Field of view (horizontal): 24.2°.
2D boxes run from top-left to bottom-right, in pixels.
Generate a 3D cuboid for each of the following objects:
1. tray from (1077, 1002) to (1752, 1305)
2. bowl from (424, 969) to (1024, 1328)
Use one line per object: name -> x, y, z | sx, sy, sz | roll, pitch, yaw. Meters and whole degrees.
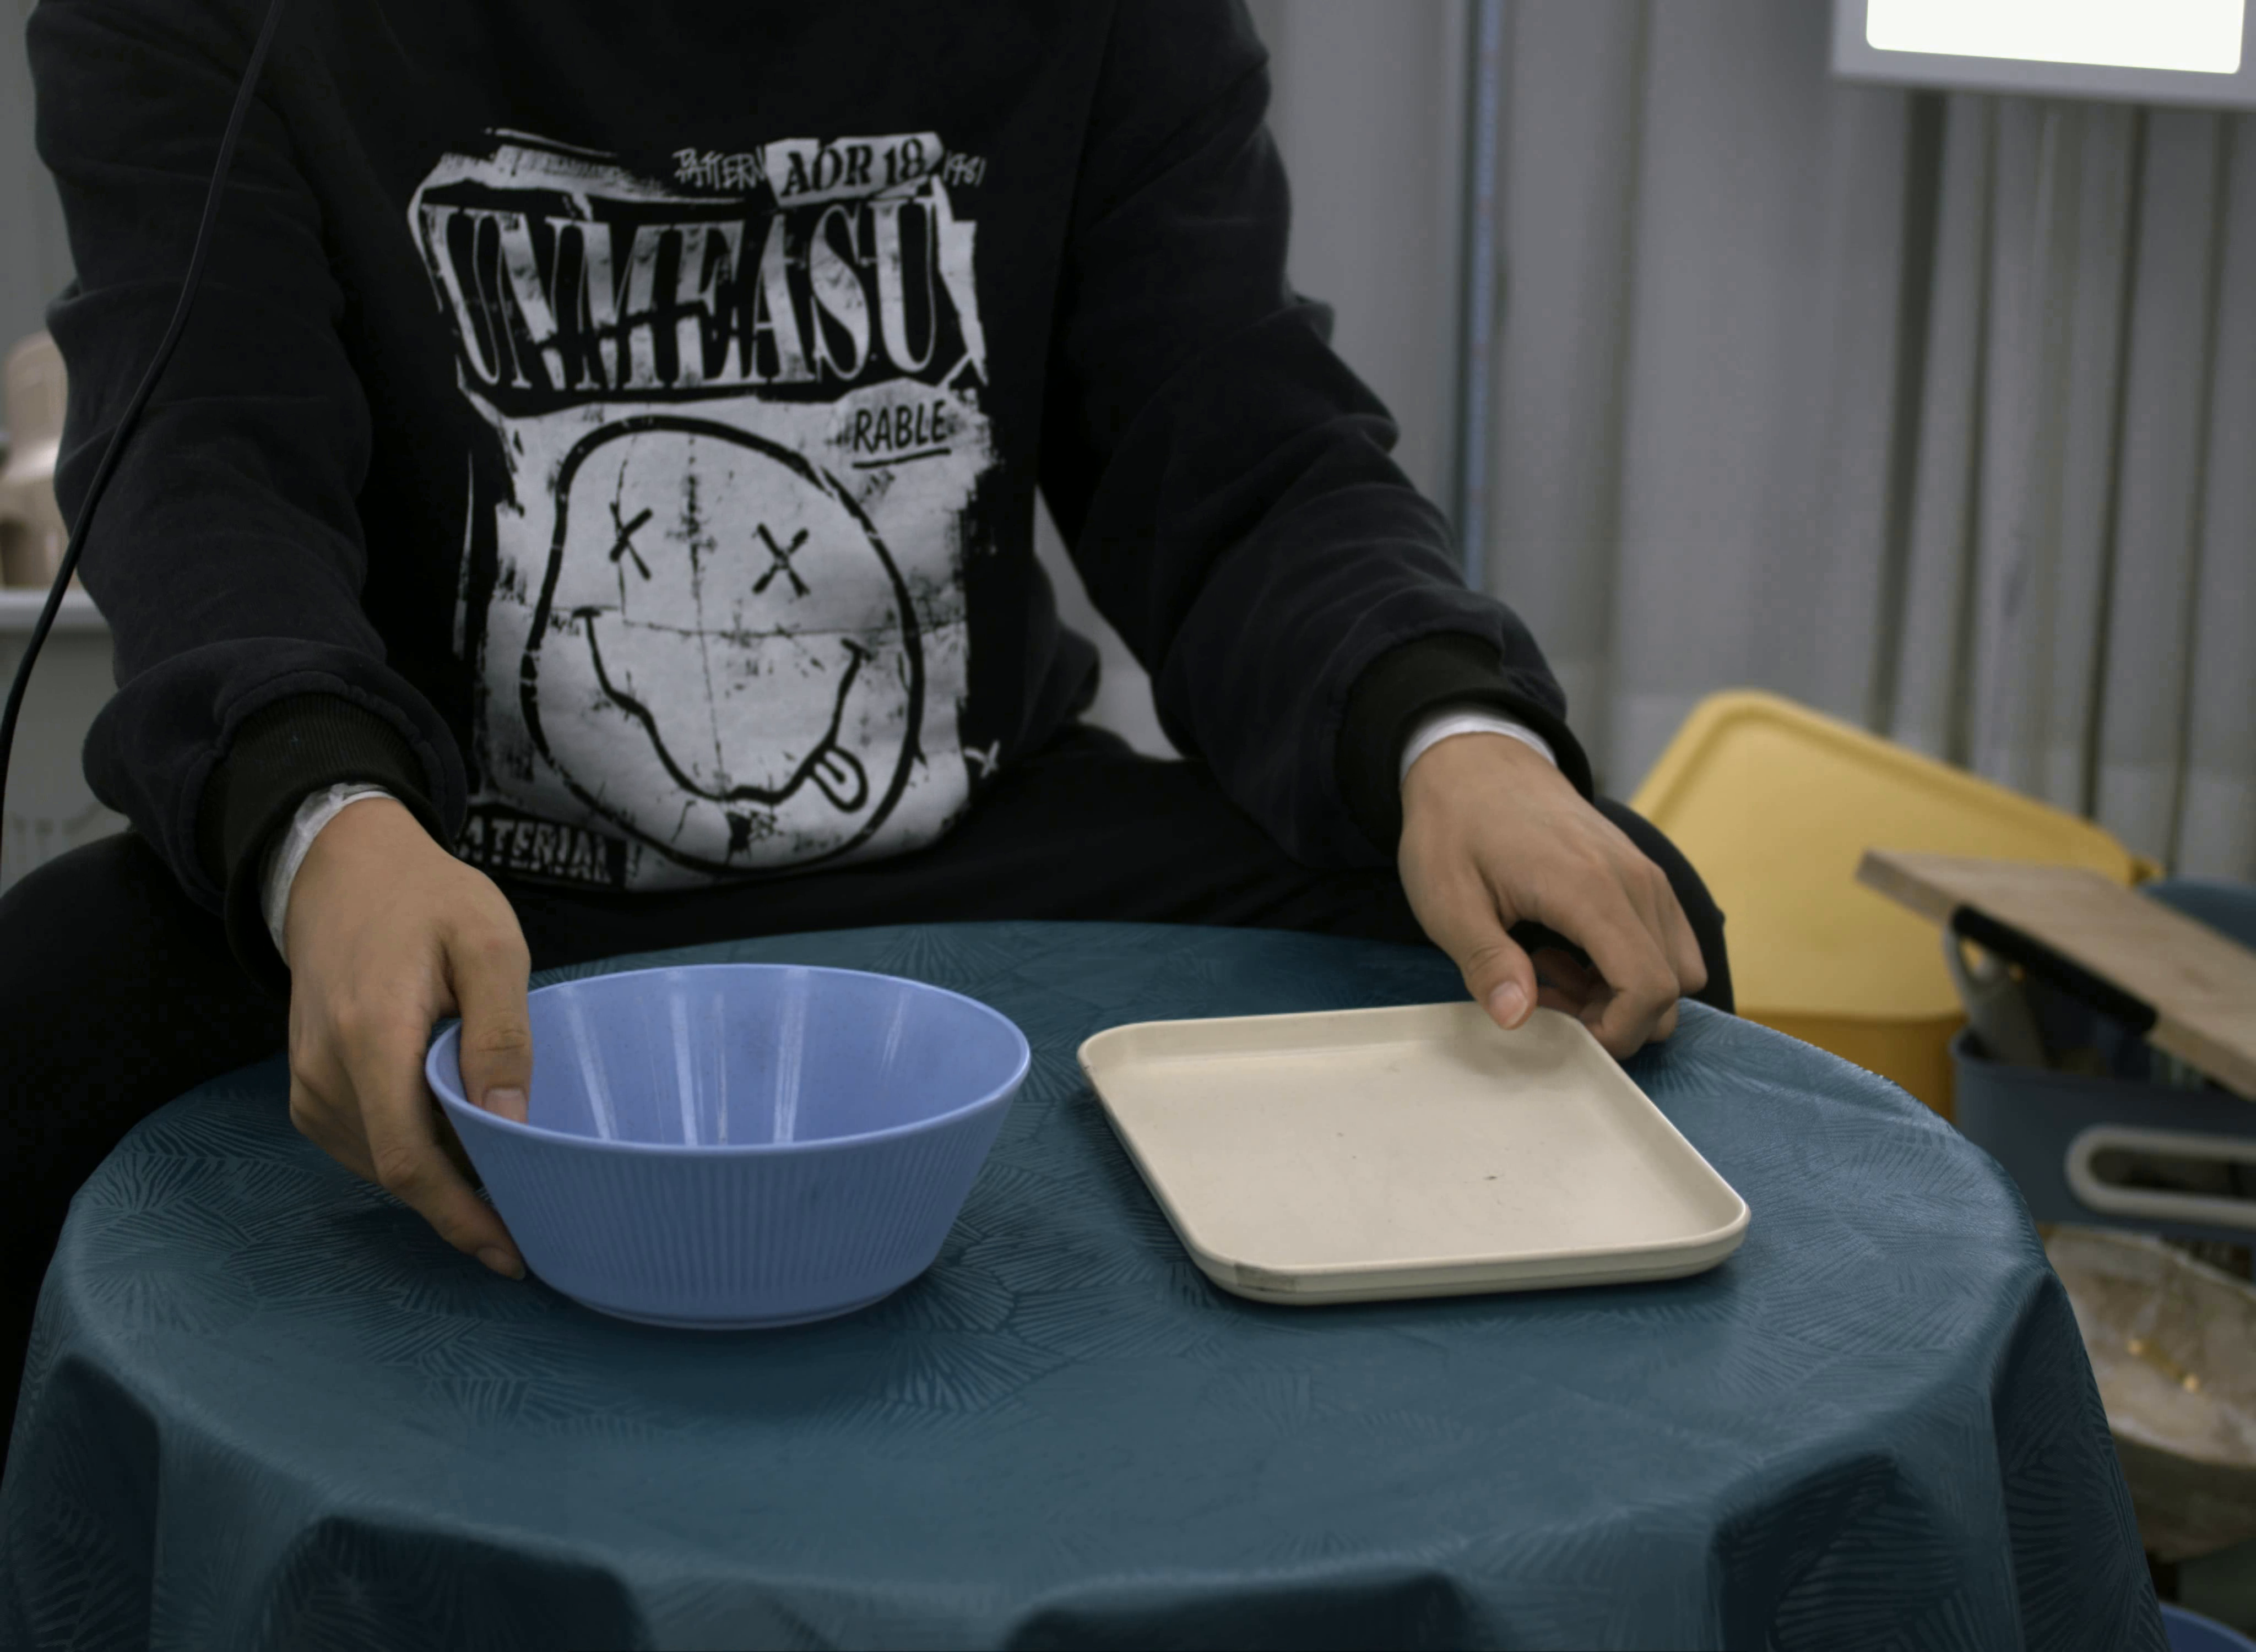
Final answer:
tray -> 0.085, 0.101, 1.640 | 0.171, 0.017, 0.237 | -2, 16, -12
bowl -> -0.118, 0.097, 1.546 | 0.175, 0.071, 0.175 | 1, 15, 0
